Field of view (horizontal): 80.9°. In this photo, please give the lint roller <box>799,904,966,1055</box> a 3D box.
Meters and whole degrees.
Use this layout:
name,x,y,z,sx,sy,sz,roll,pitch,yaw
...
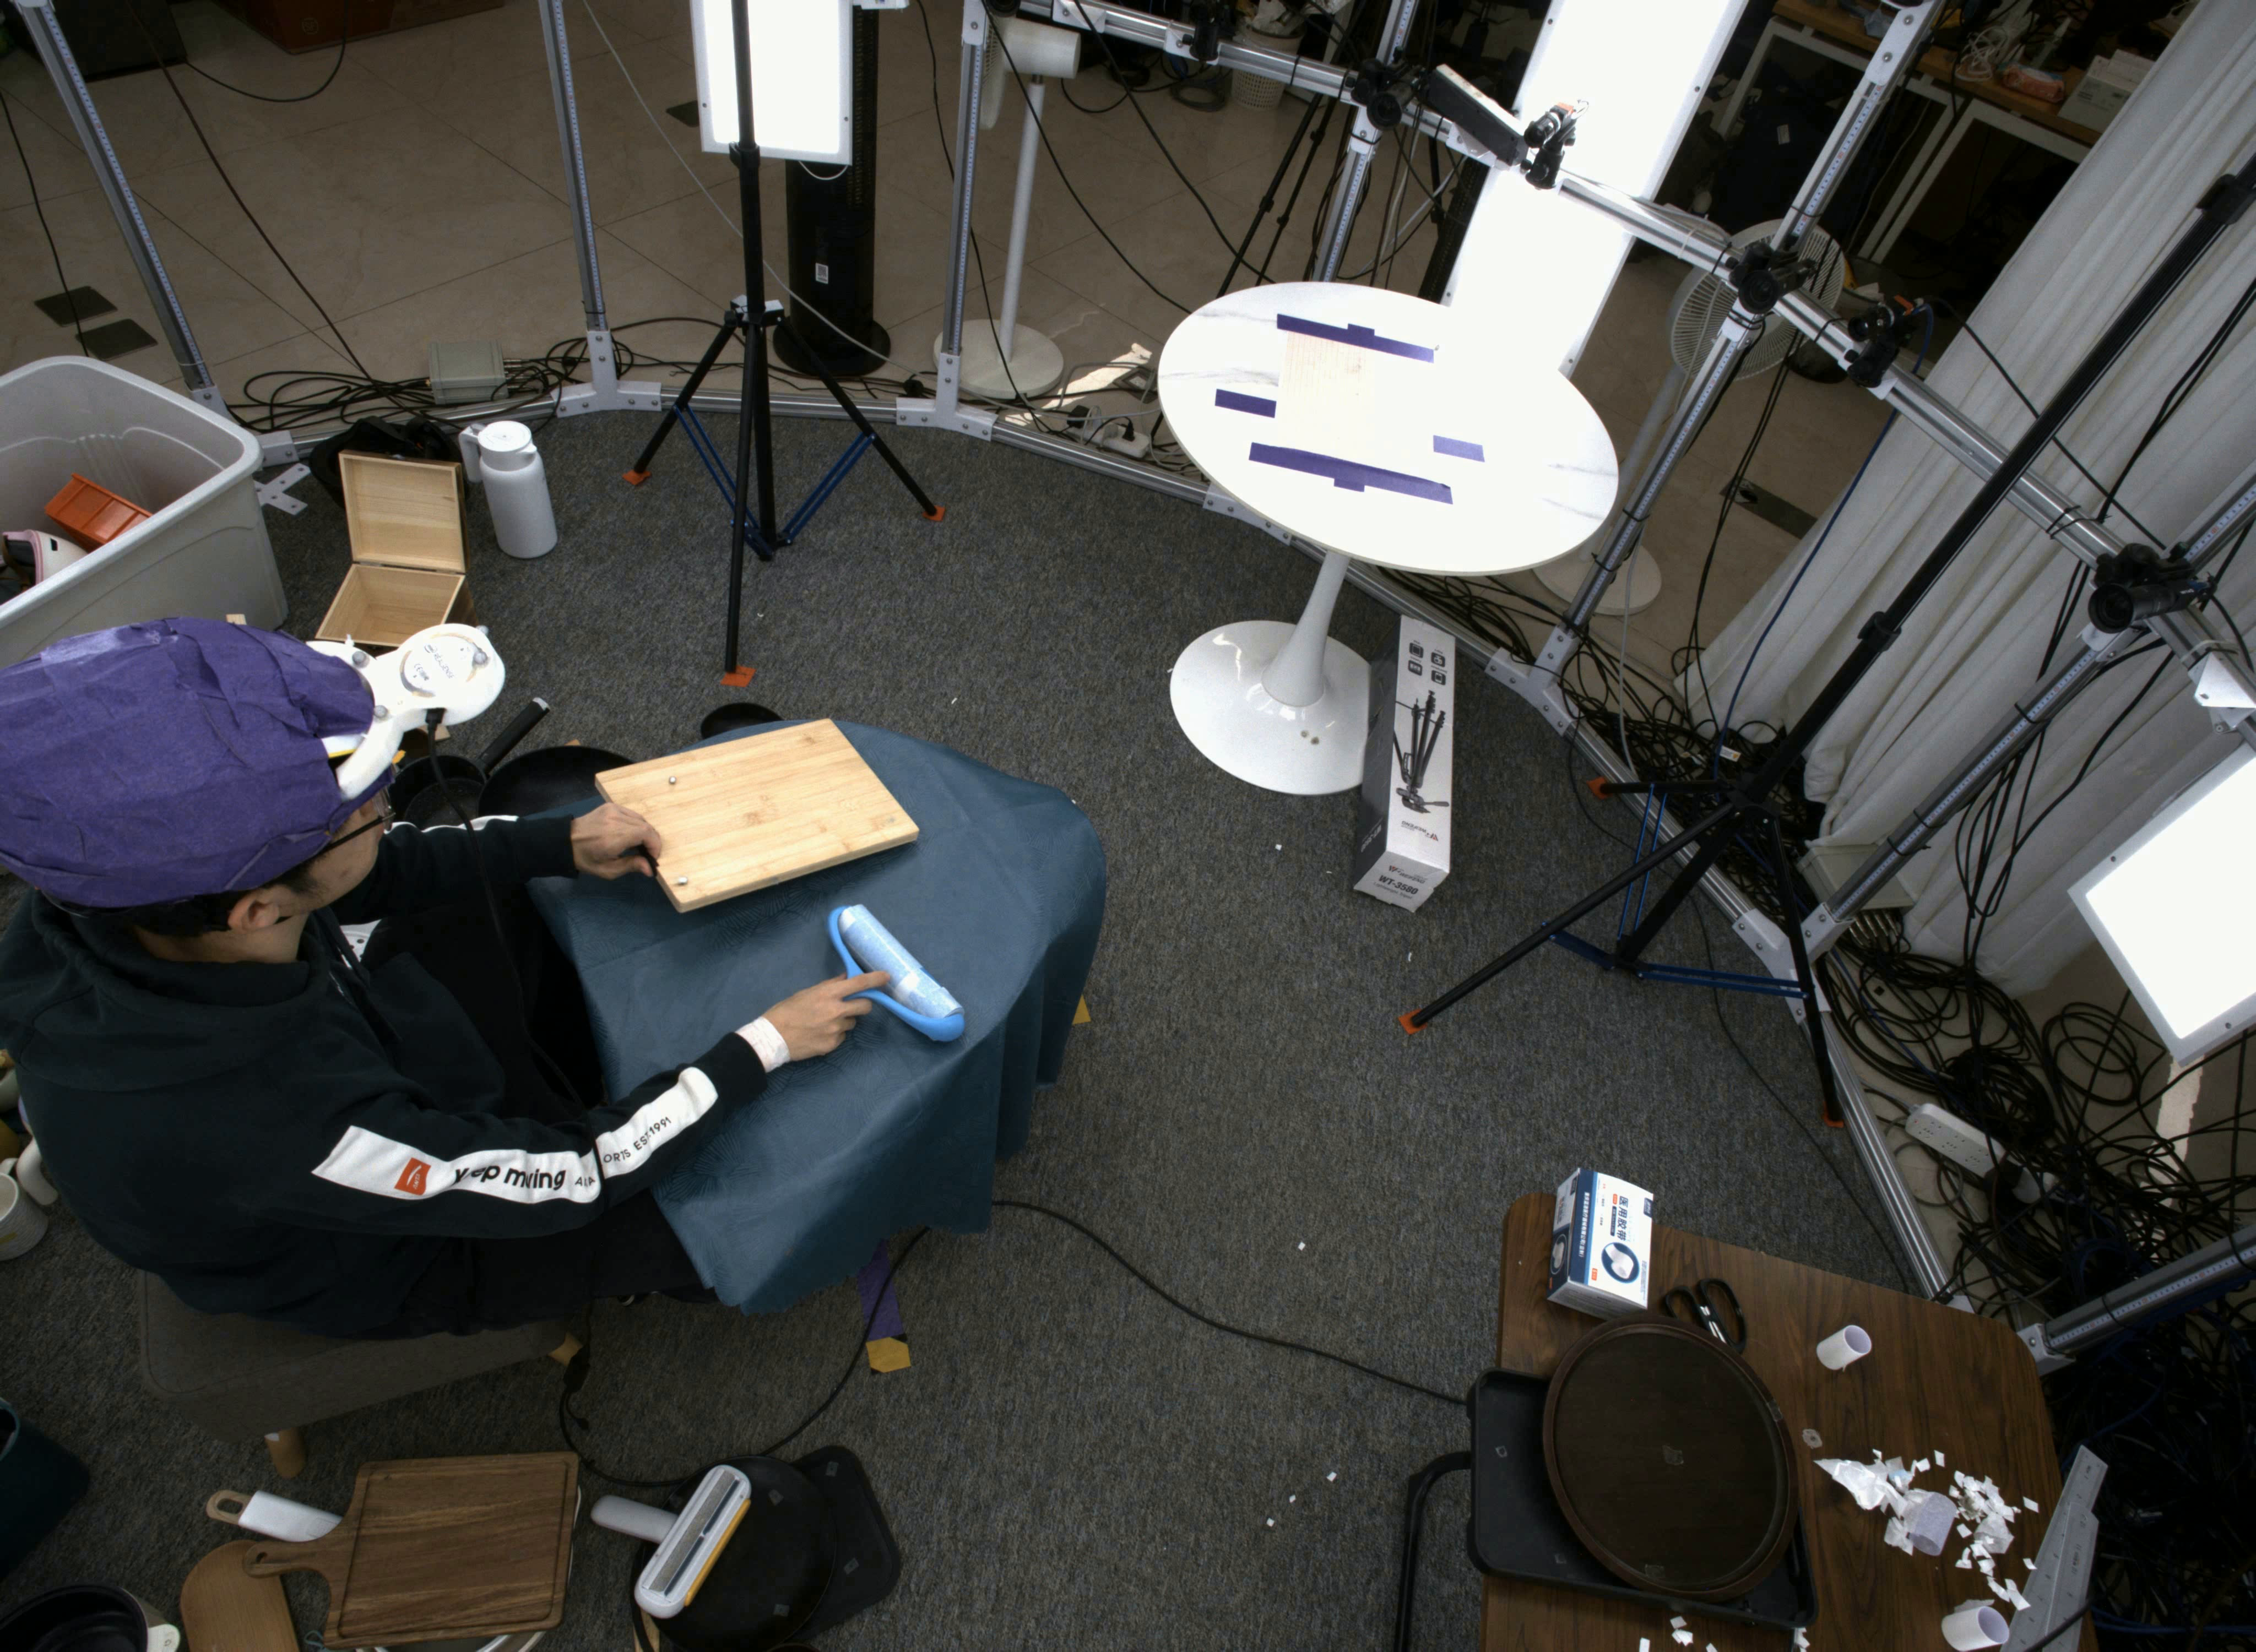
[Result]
name,x,y,z,sx,sy,sz,roll,pitch,yaw
lint roller,-0.322,0.205,1.569,0.224,0.069,0.180,40,54,14

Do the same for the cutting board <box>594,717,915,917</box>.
name,x,y,z,sx,sy,sz,roll,pitch,yaw
cutting board,-0.479,-0.023,1.672,0.352,0.024,0.244,-21,59,-41
